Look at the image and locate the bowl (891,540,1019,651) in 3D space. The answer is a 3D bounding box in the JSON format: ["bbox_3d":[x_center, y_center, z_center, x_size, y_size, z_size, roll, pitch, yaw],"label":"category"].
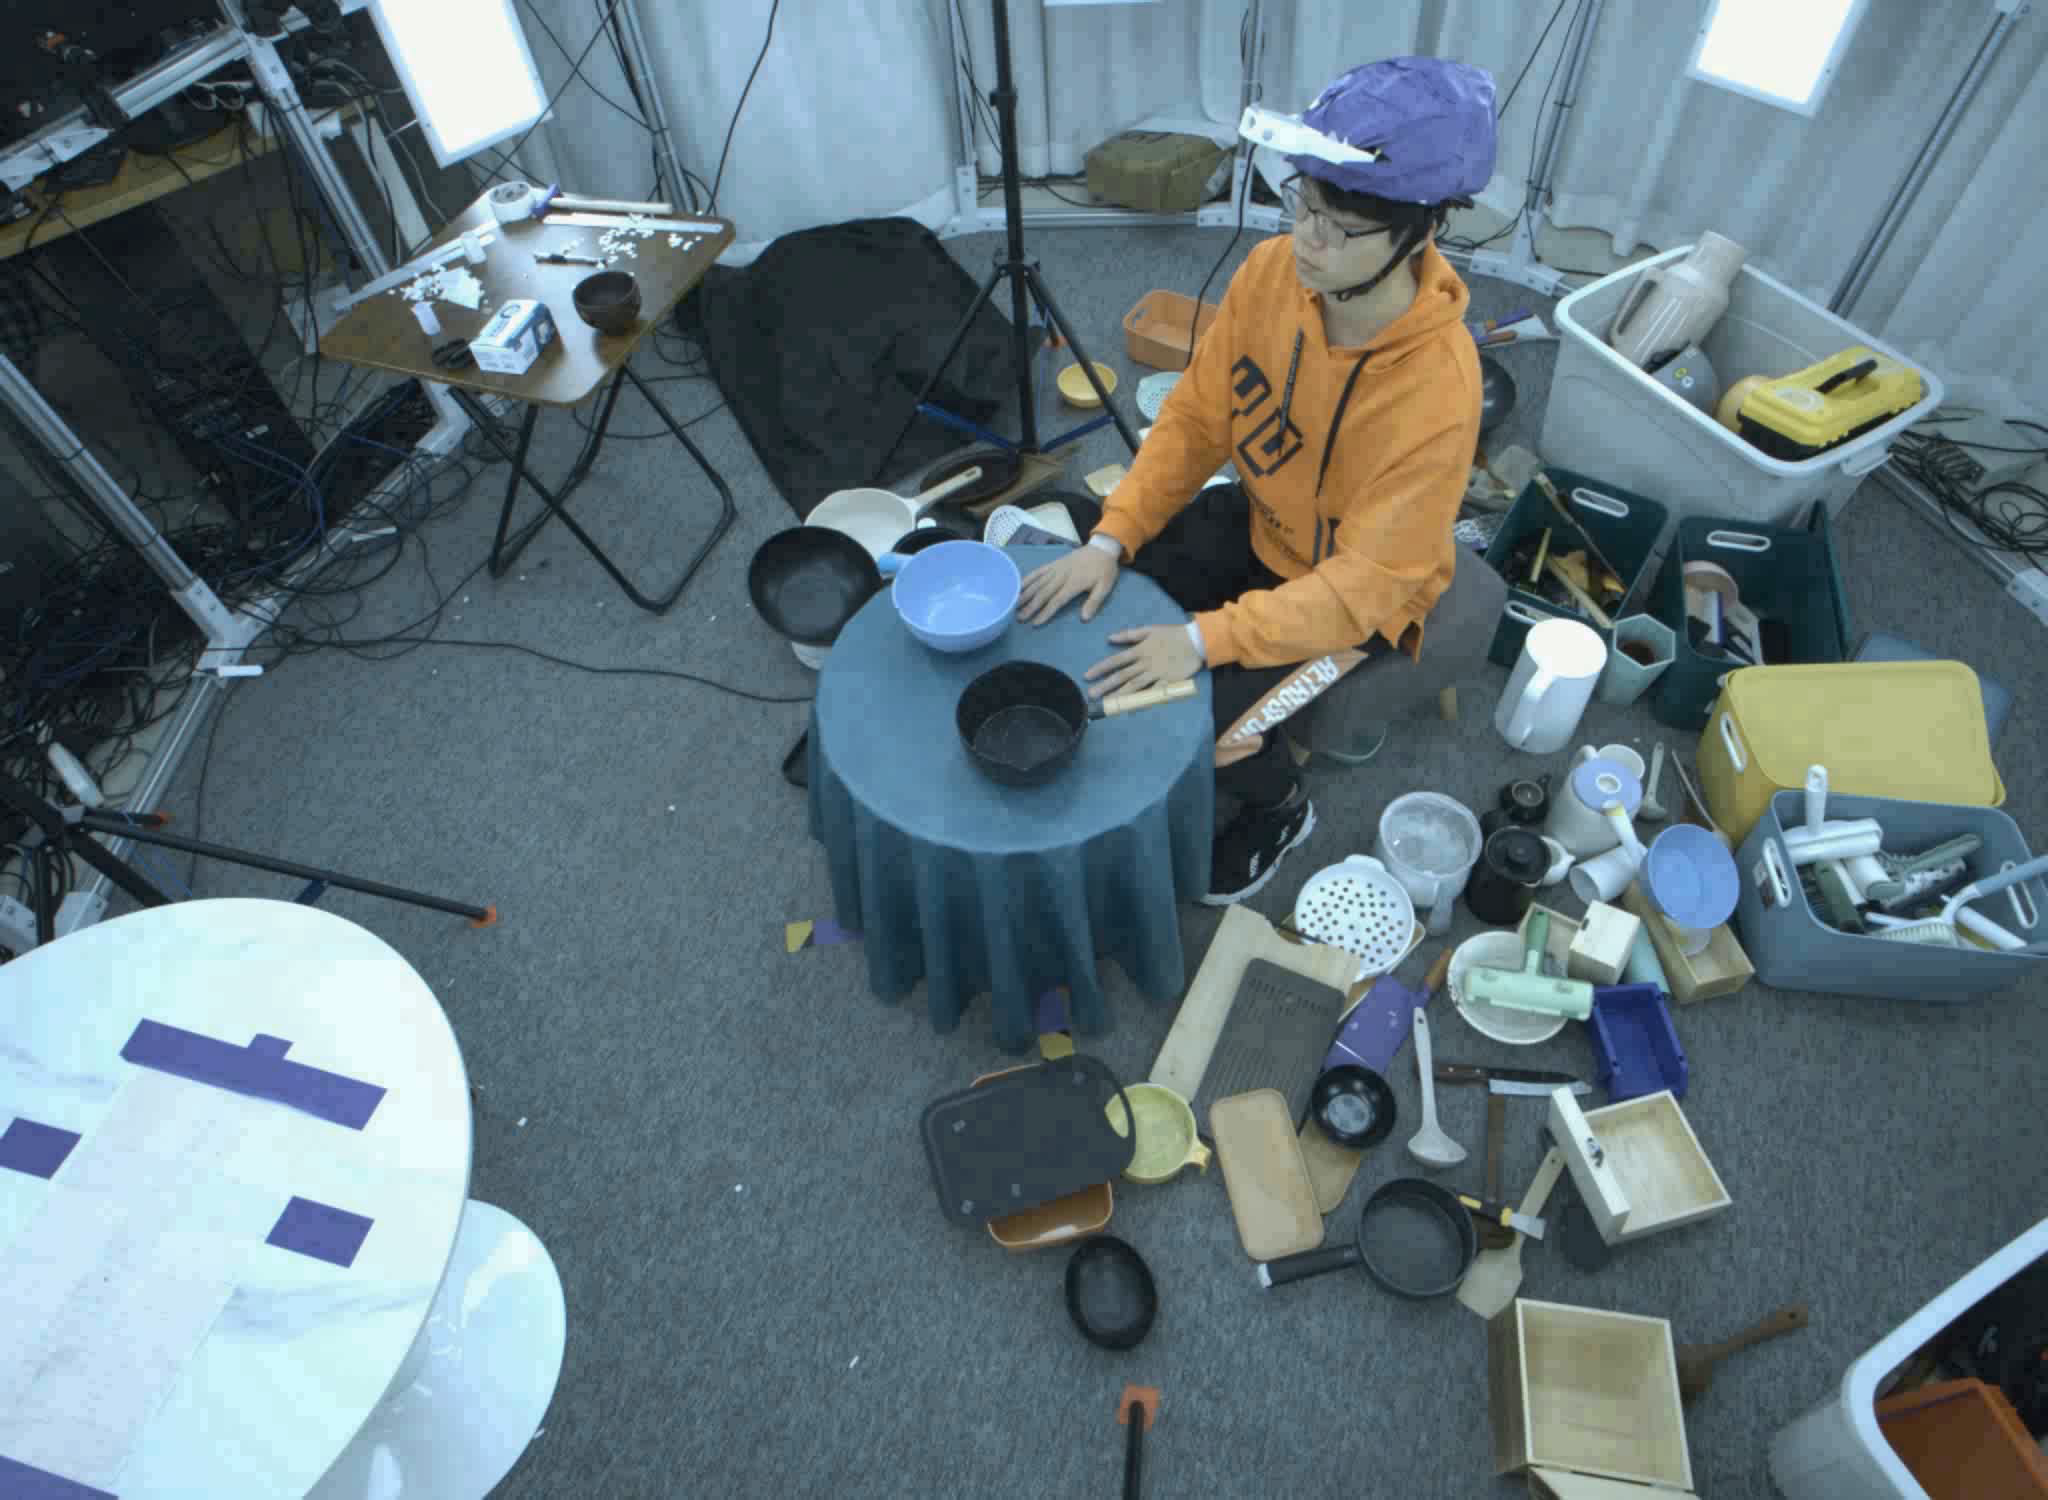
[{"bbox_3d":[-0.101,-0.223,1.889,0.196,0.096,0.194,-1,55,3],"label":"bowl"}]

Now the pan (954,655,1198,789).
[{"bbox_3d":[0.075,-0.046,1.750,0.343,0.109,0.204,-7,53,-1],"label":"pan"}]
